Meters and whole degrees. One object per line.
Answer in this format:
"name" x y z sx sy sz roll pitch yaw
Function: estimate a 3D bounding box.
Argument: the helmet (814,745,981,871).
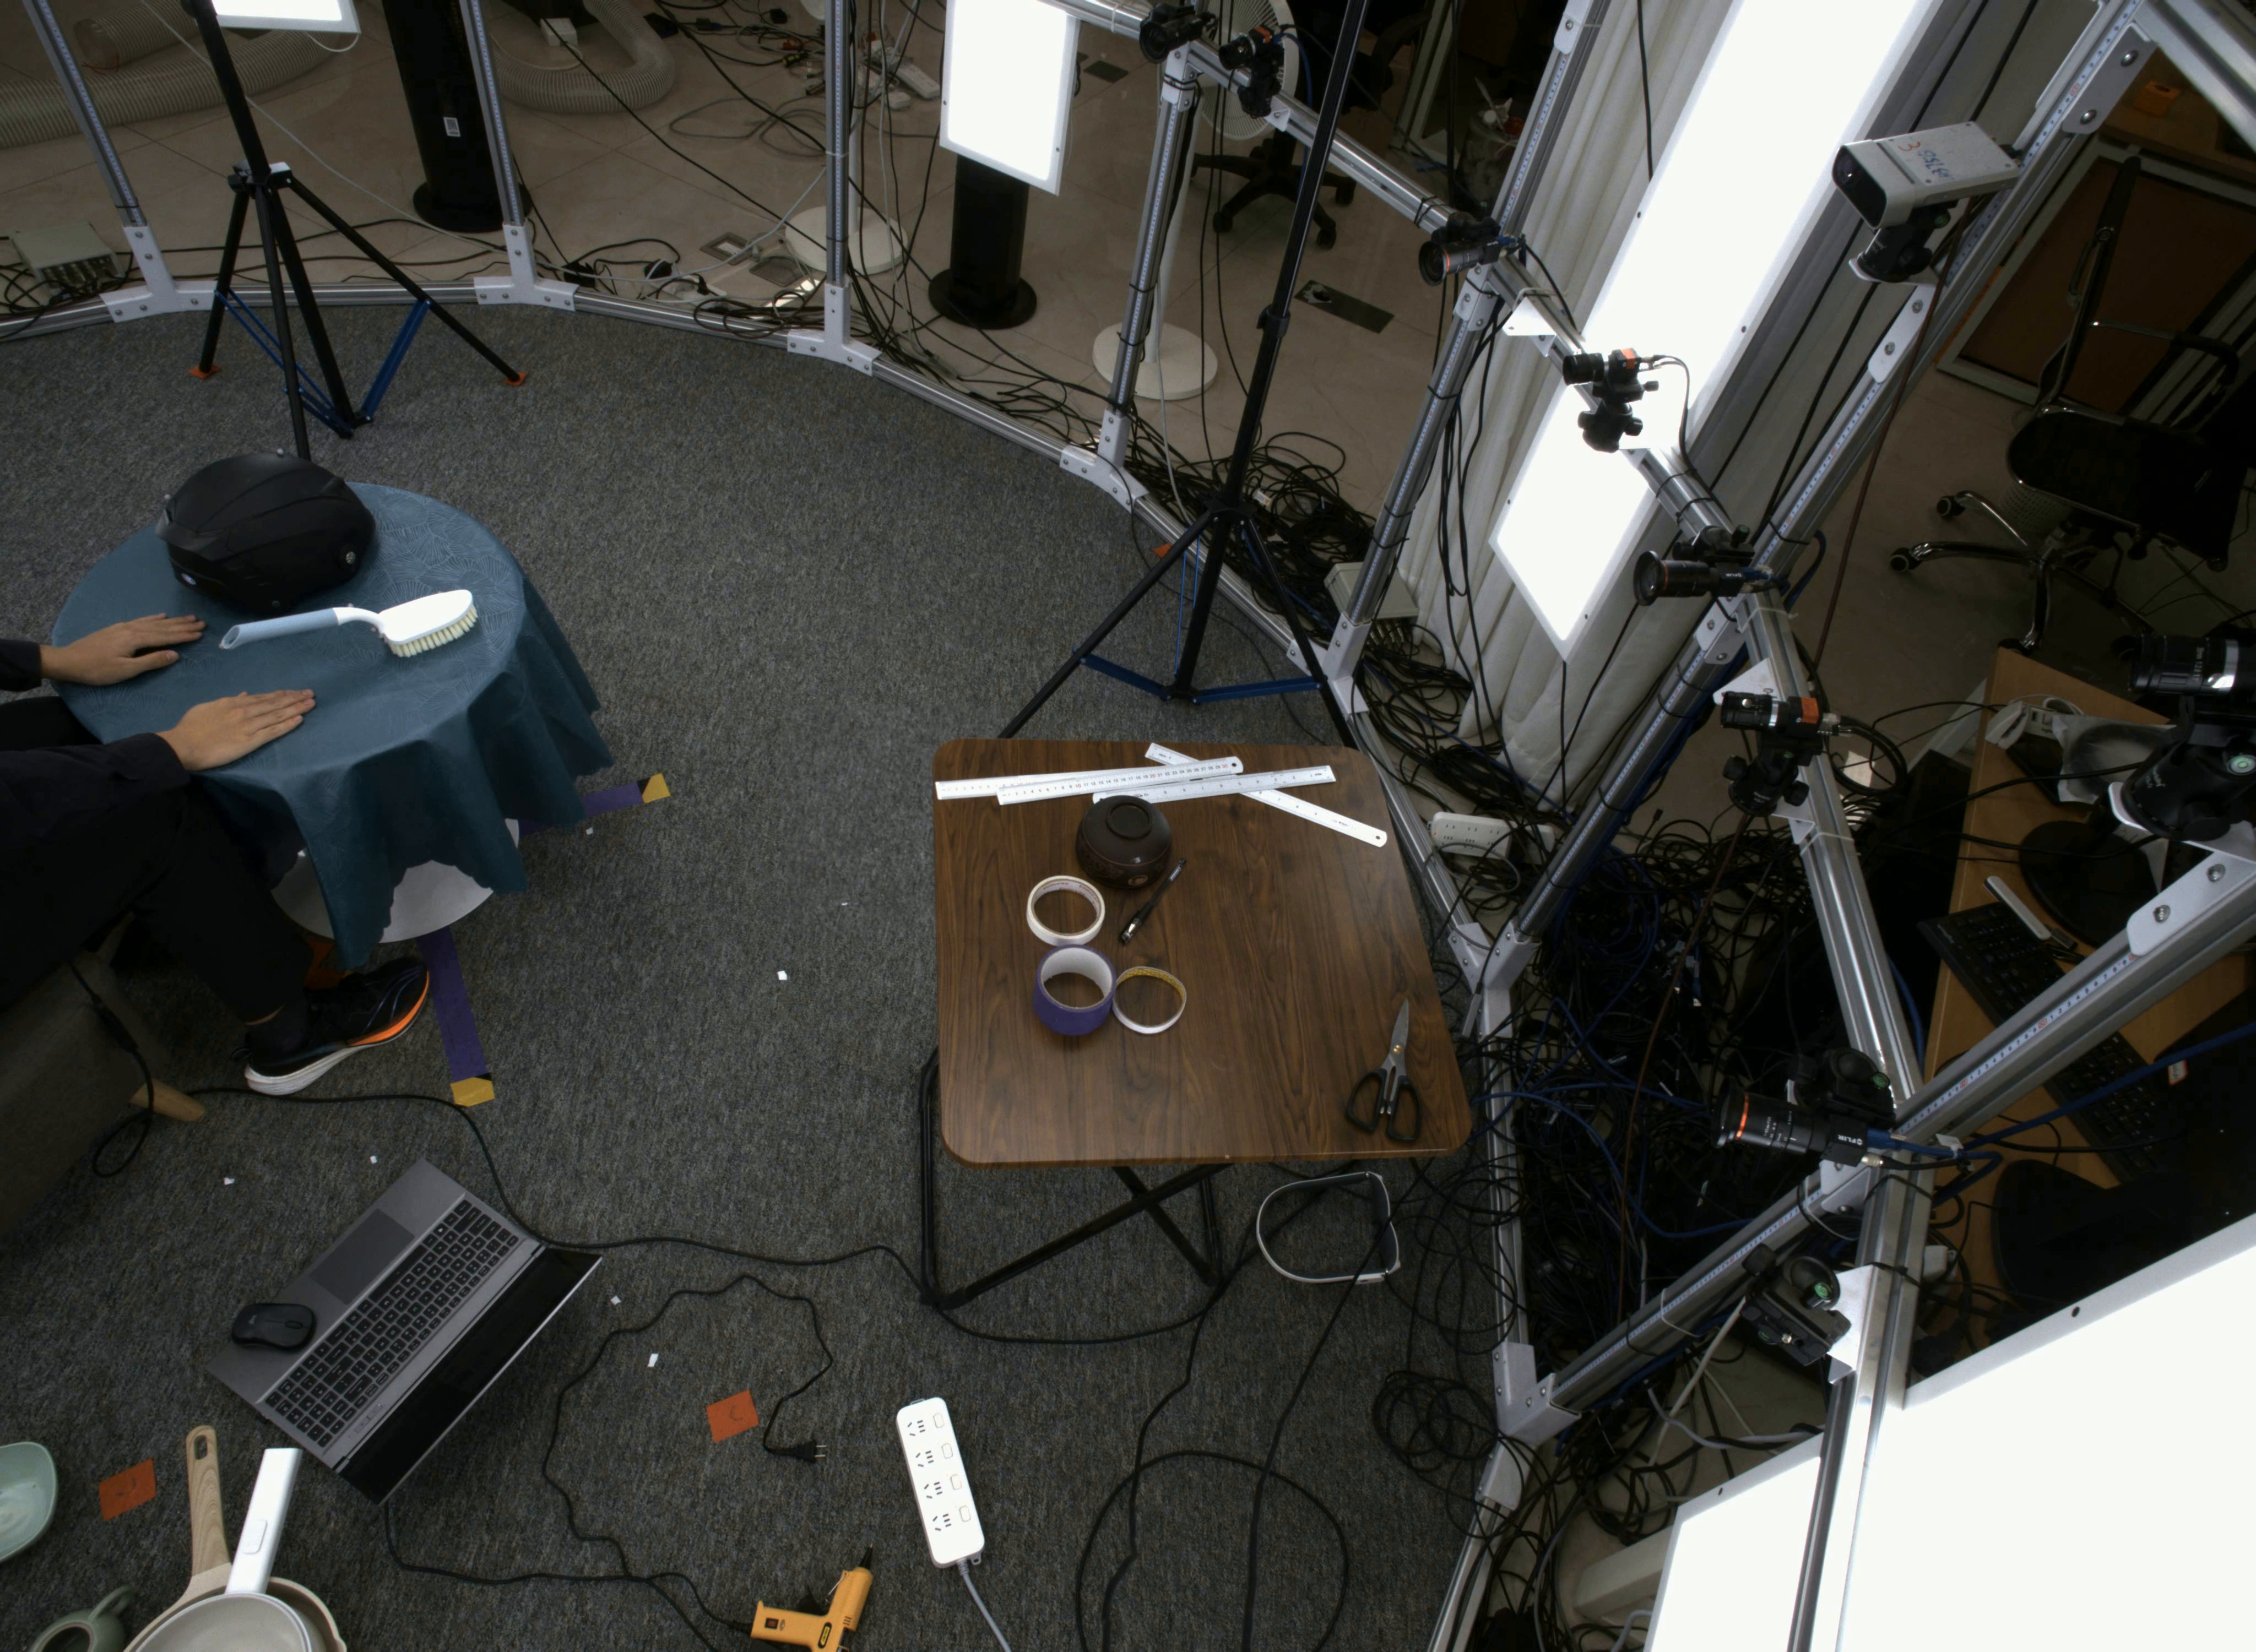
"helmet" -0.377 -0.046 2.138 0.280 0.177 0.237 -6 27 -34

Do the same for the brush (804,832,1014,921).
"brush" -0.329 0.087 1.952 0.328 0.084 0.082 14 -16 -16
